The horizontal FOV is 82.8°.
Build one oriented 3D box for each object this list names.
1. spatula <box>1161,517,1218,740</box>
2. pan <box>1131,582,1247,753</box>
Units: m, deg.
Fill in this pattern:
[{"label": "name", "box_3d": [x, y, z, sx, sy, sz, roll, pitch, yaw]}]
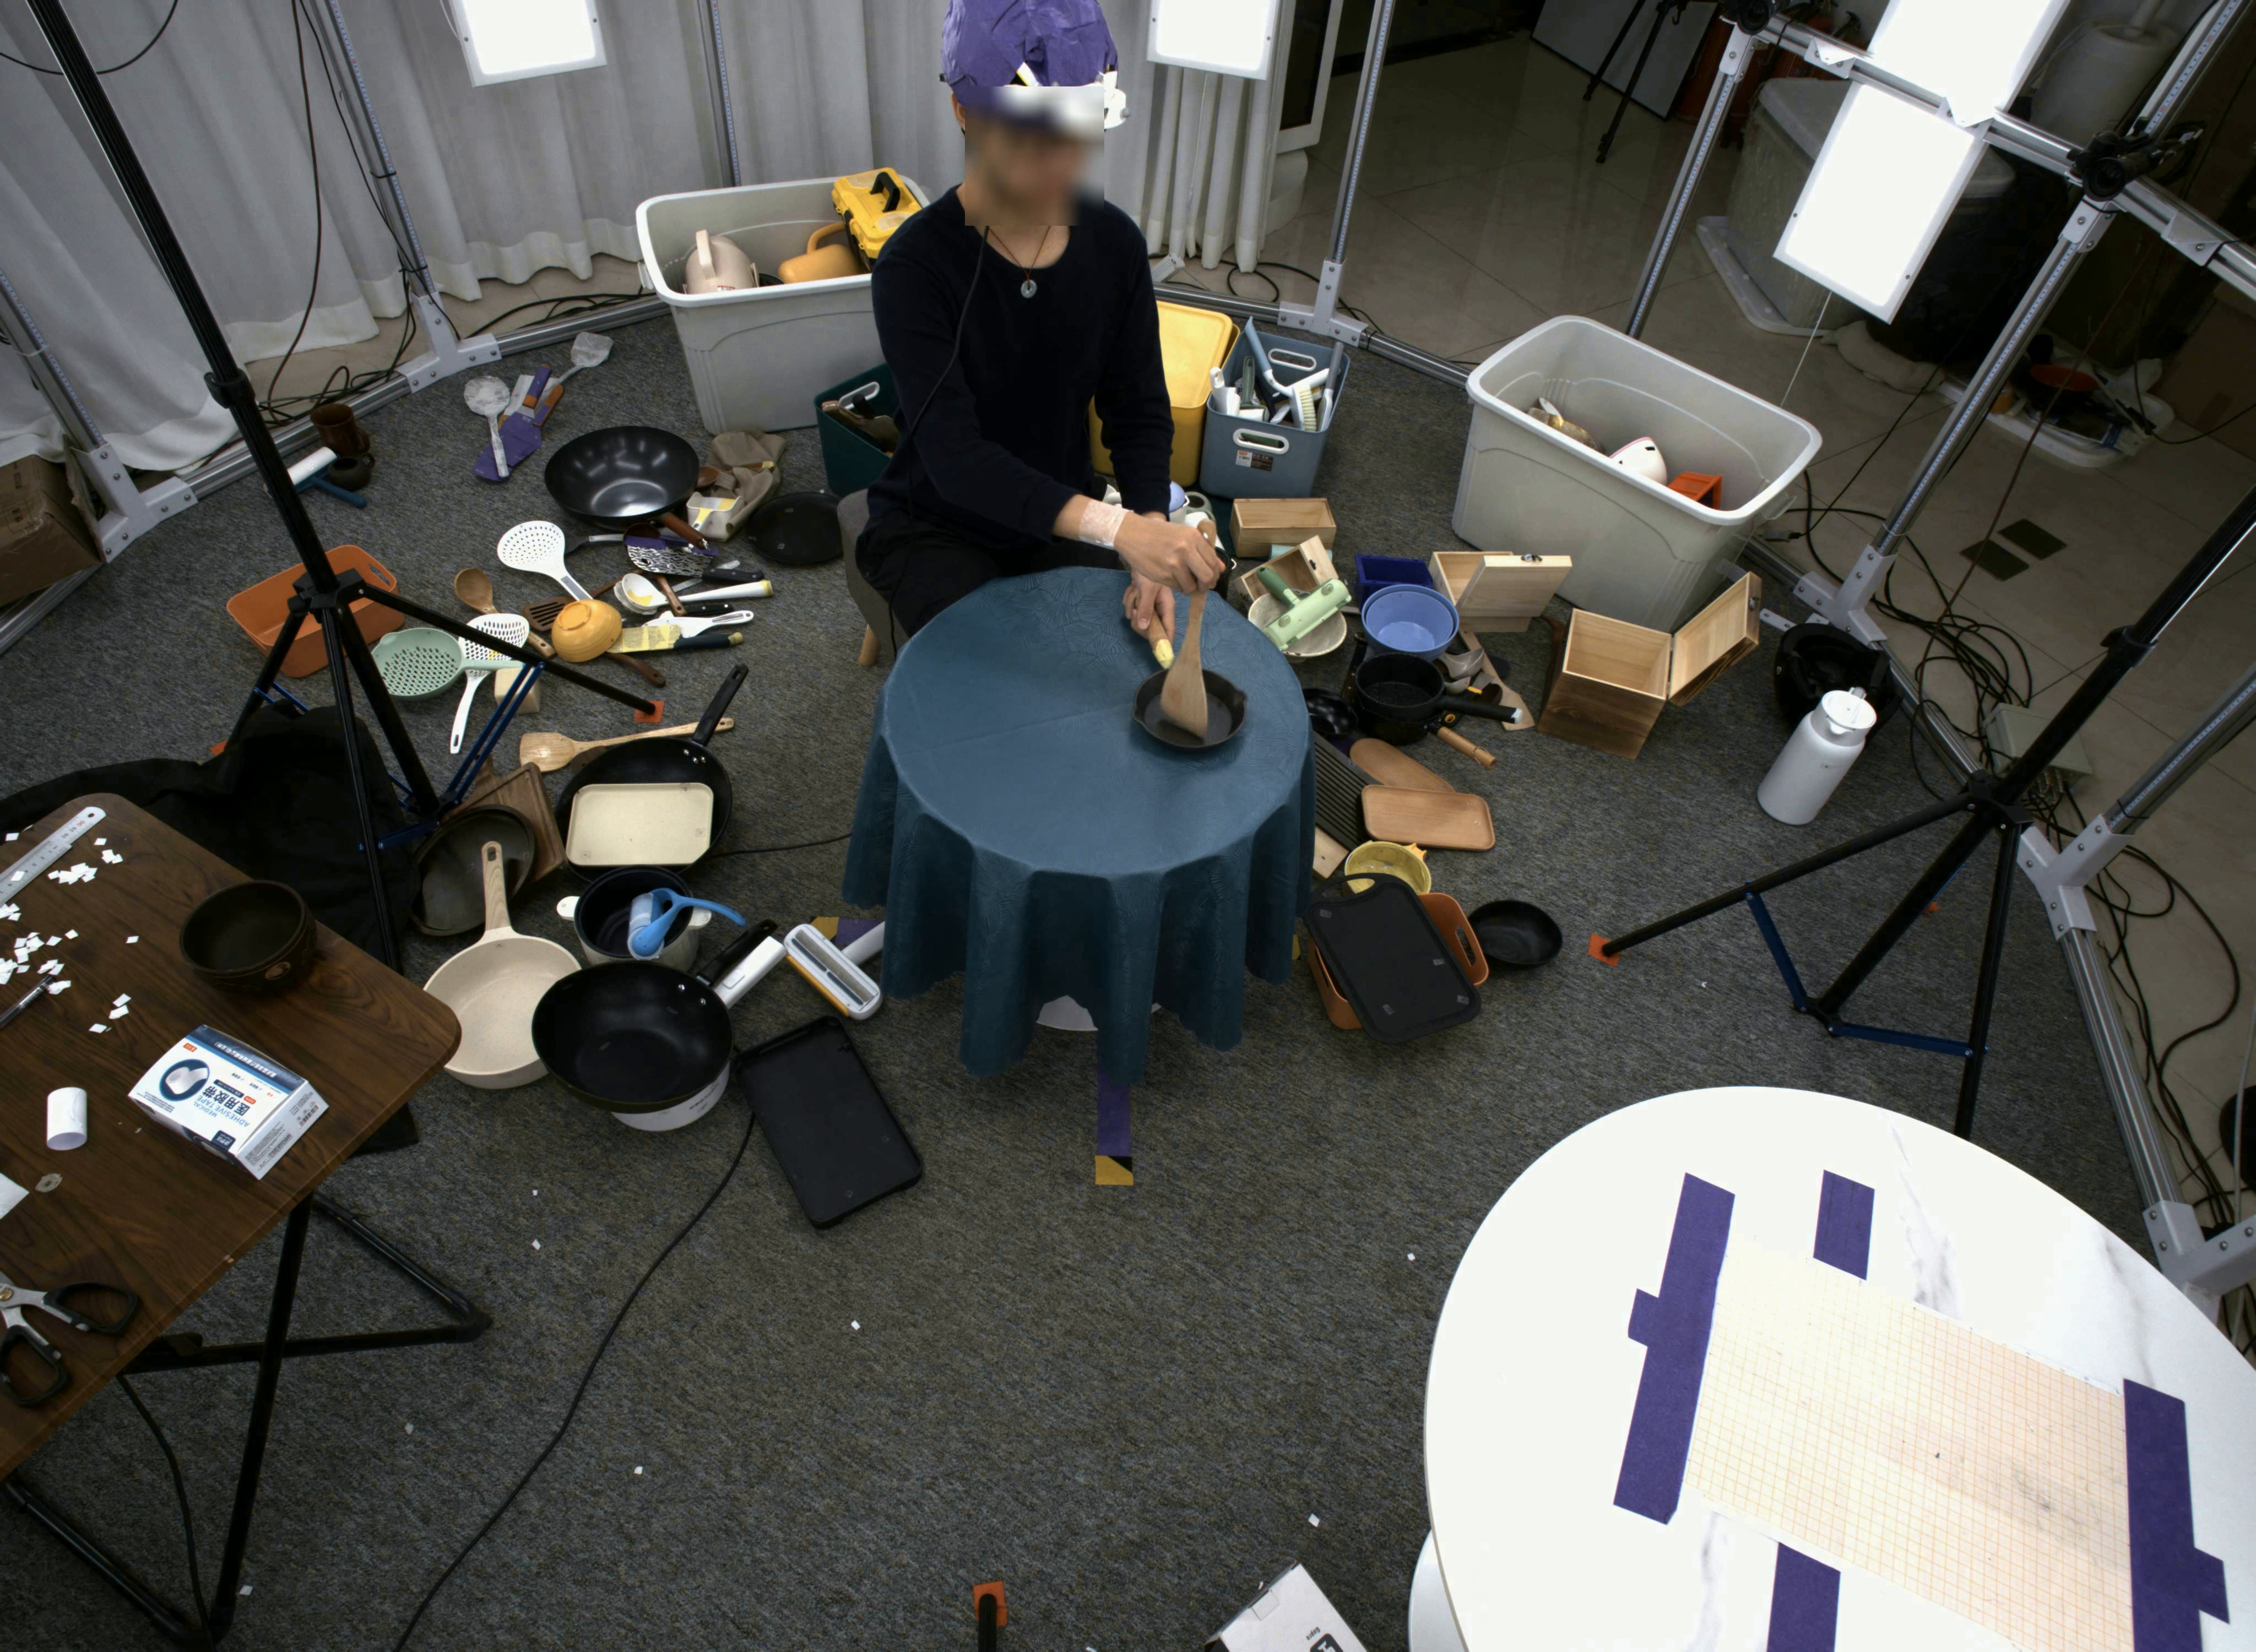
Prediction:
[{"label": "spatula", "box_3d": [0.089, -0.256, 1.690, 0.081, 0.320, 0.017, 28, 43, 26]}, {"label": "pan", "box_3d": [0.062, -0.228, 1.837, 0.169, 0.048, 0.332, -10, 52, -13]}]
